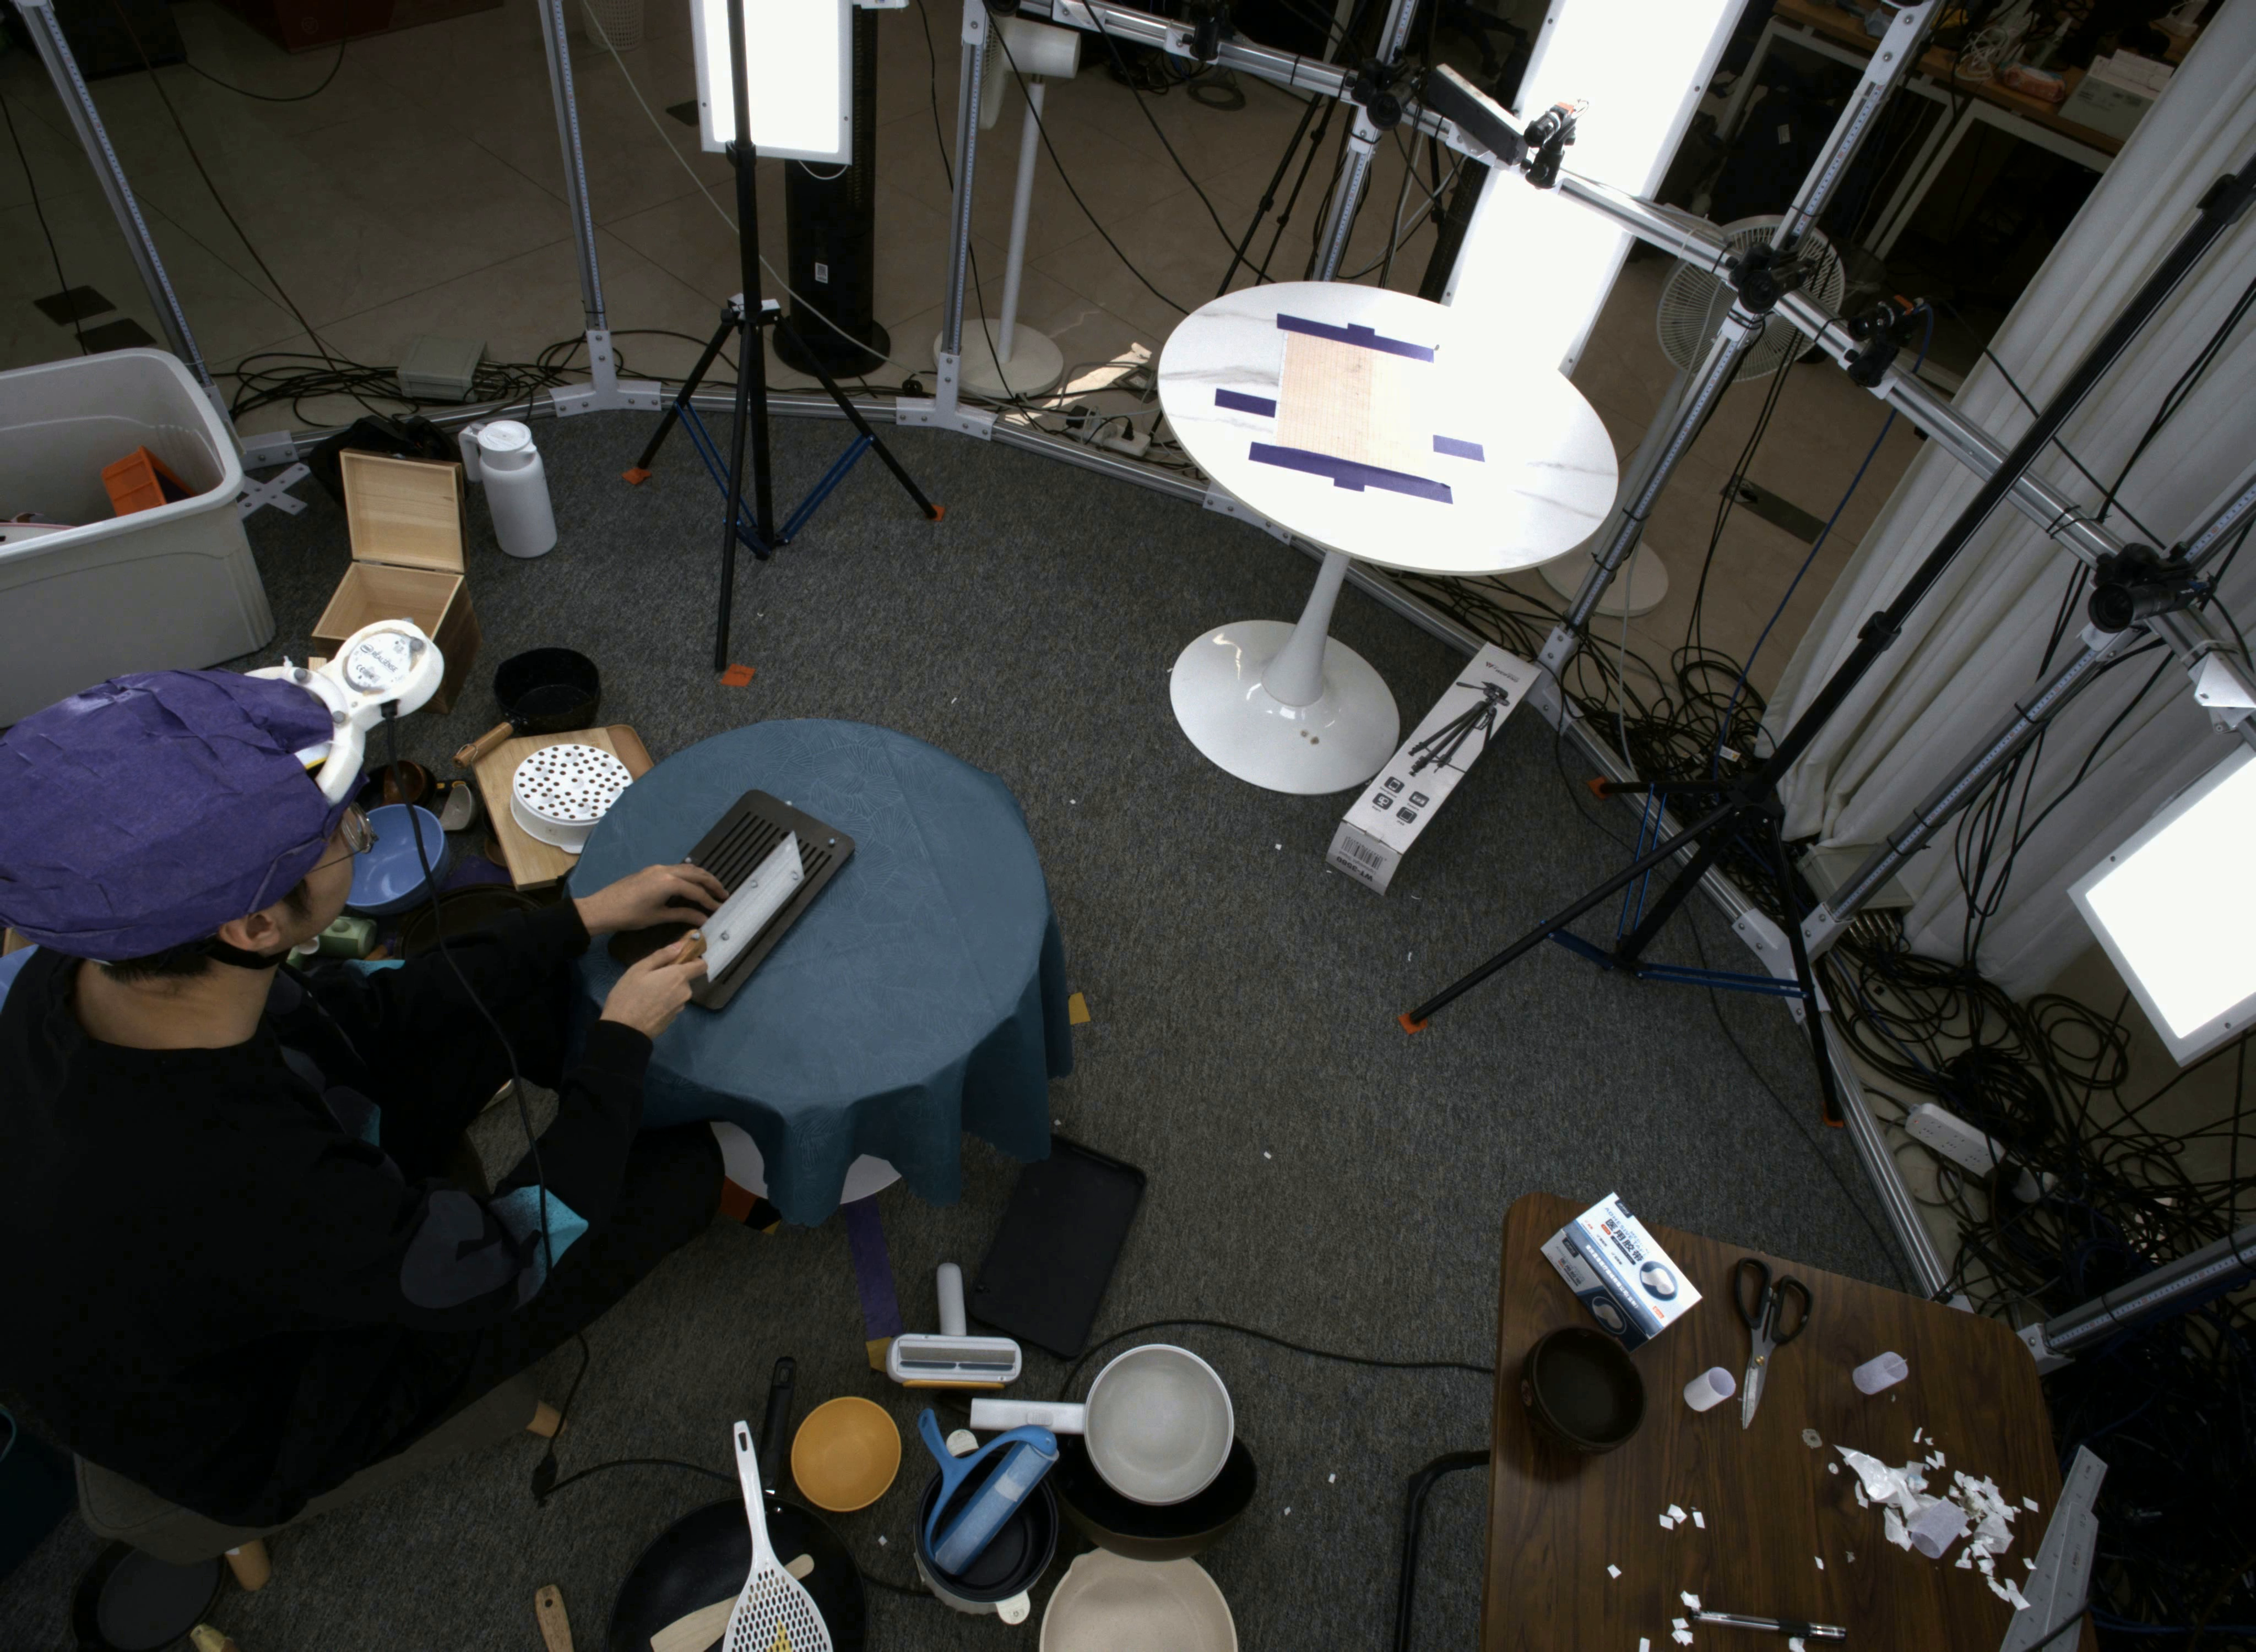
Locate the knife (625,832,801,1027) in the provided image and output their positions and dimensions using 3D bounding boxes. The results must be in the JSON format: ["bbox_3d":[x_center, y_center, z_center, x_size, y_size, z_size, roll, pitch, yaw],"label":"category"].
[{"bbox_3d":[-0.477,0.129,1.510,0.020,0.095,0.304,21,48,16],"label":"knife"}]

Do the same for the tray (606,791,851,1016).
[{"bbox_3d":[-0.496,0.089,1.616,0.168,0.019,0.304,28,52,6],"label":"tray"}]
